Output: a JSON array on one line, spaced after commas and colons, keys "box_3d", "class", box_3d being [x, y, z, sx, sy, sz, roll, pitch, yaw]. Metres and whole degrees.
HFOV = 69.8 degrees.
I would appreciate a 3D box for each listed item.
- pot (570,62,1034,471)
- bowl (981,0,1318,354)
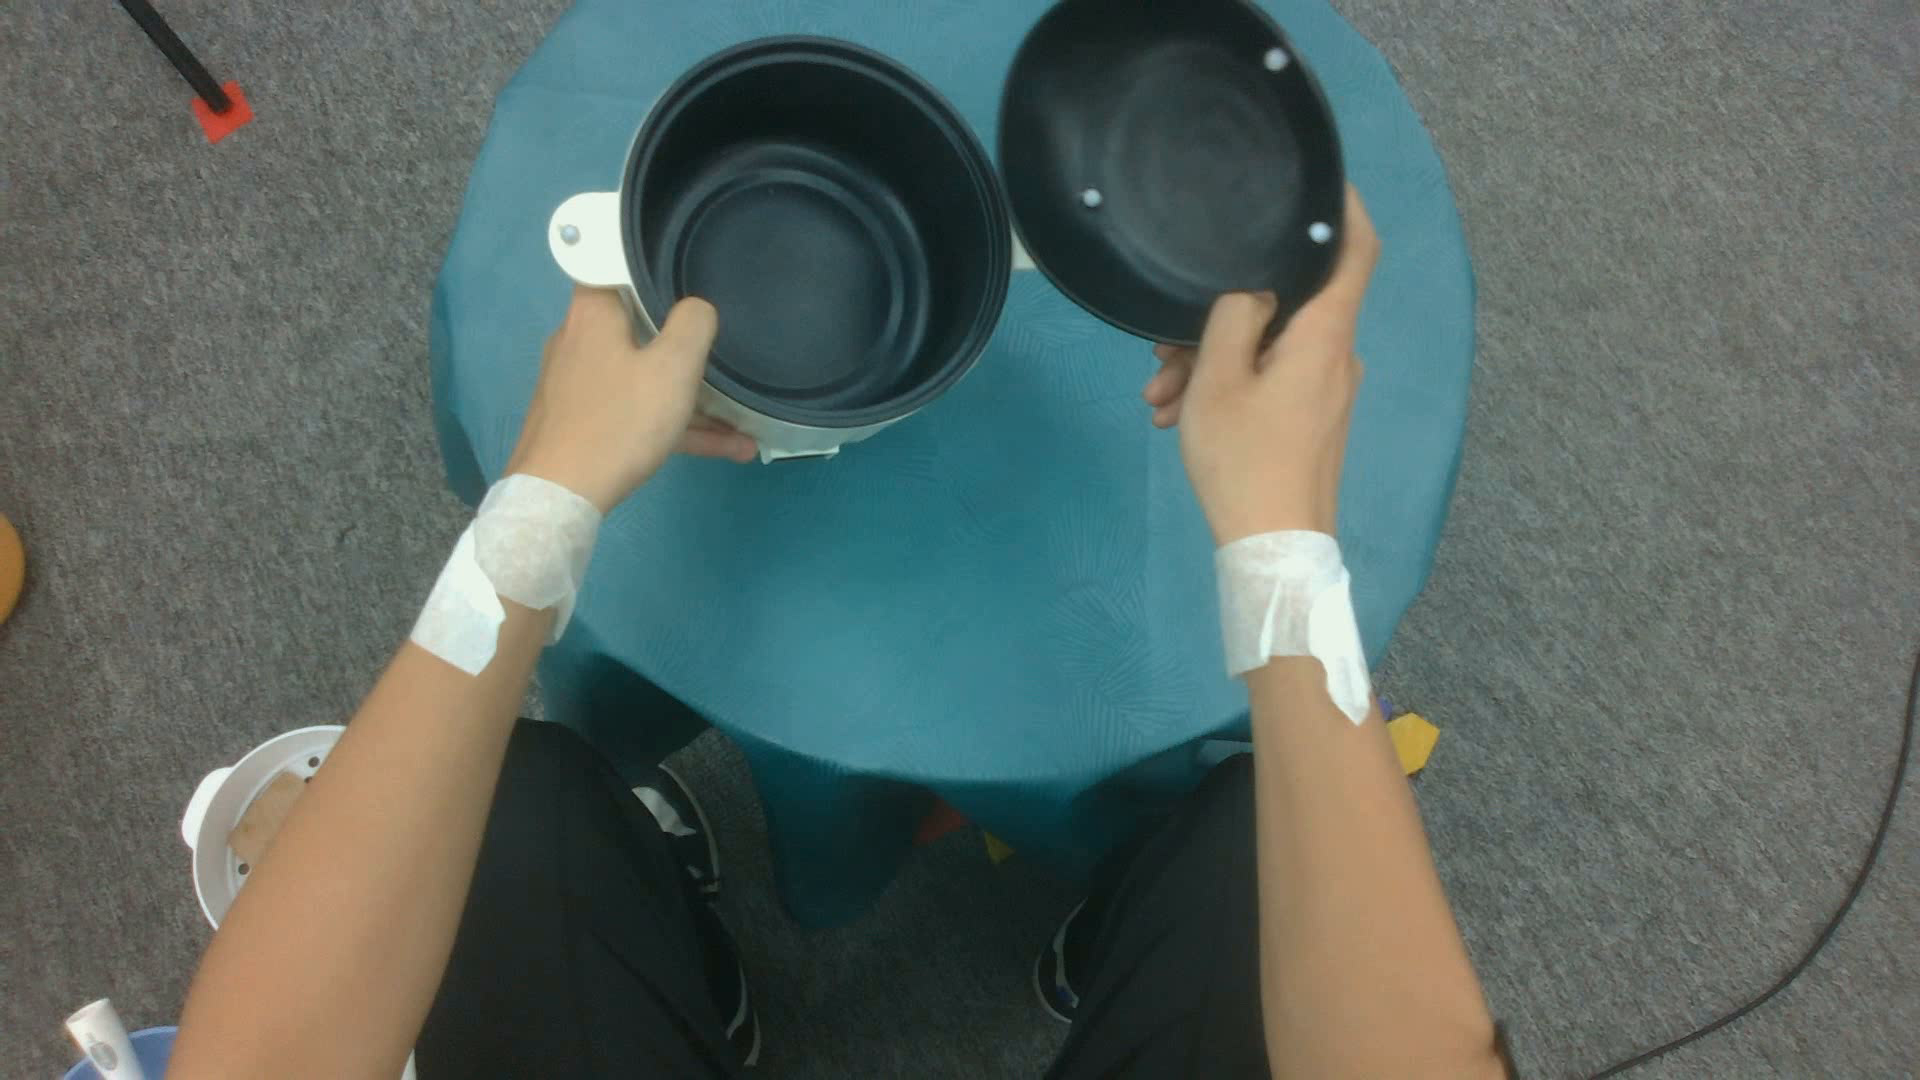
[{"box_3d": [-0.080, -0.136, 0.706, 0.241, 0.142, 0.190, -7, 90, -19], "class": "pot"}, {"box_3d": [0.091, -0.161, 0.603, 0.170, 0.136, 0.067, 46, 36, 13], "class": "bowl"}]
